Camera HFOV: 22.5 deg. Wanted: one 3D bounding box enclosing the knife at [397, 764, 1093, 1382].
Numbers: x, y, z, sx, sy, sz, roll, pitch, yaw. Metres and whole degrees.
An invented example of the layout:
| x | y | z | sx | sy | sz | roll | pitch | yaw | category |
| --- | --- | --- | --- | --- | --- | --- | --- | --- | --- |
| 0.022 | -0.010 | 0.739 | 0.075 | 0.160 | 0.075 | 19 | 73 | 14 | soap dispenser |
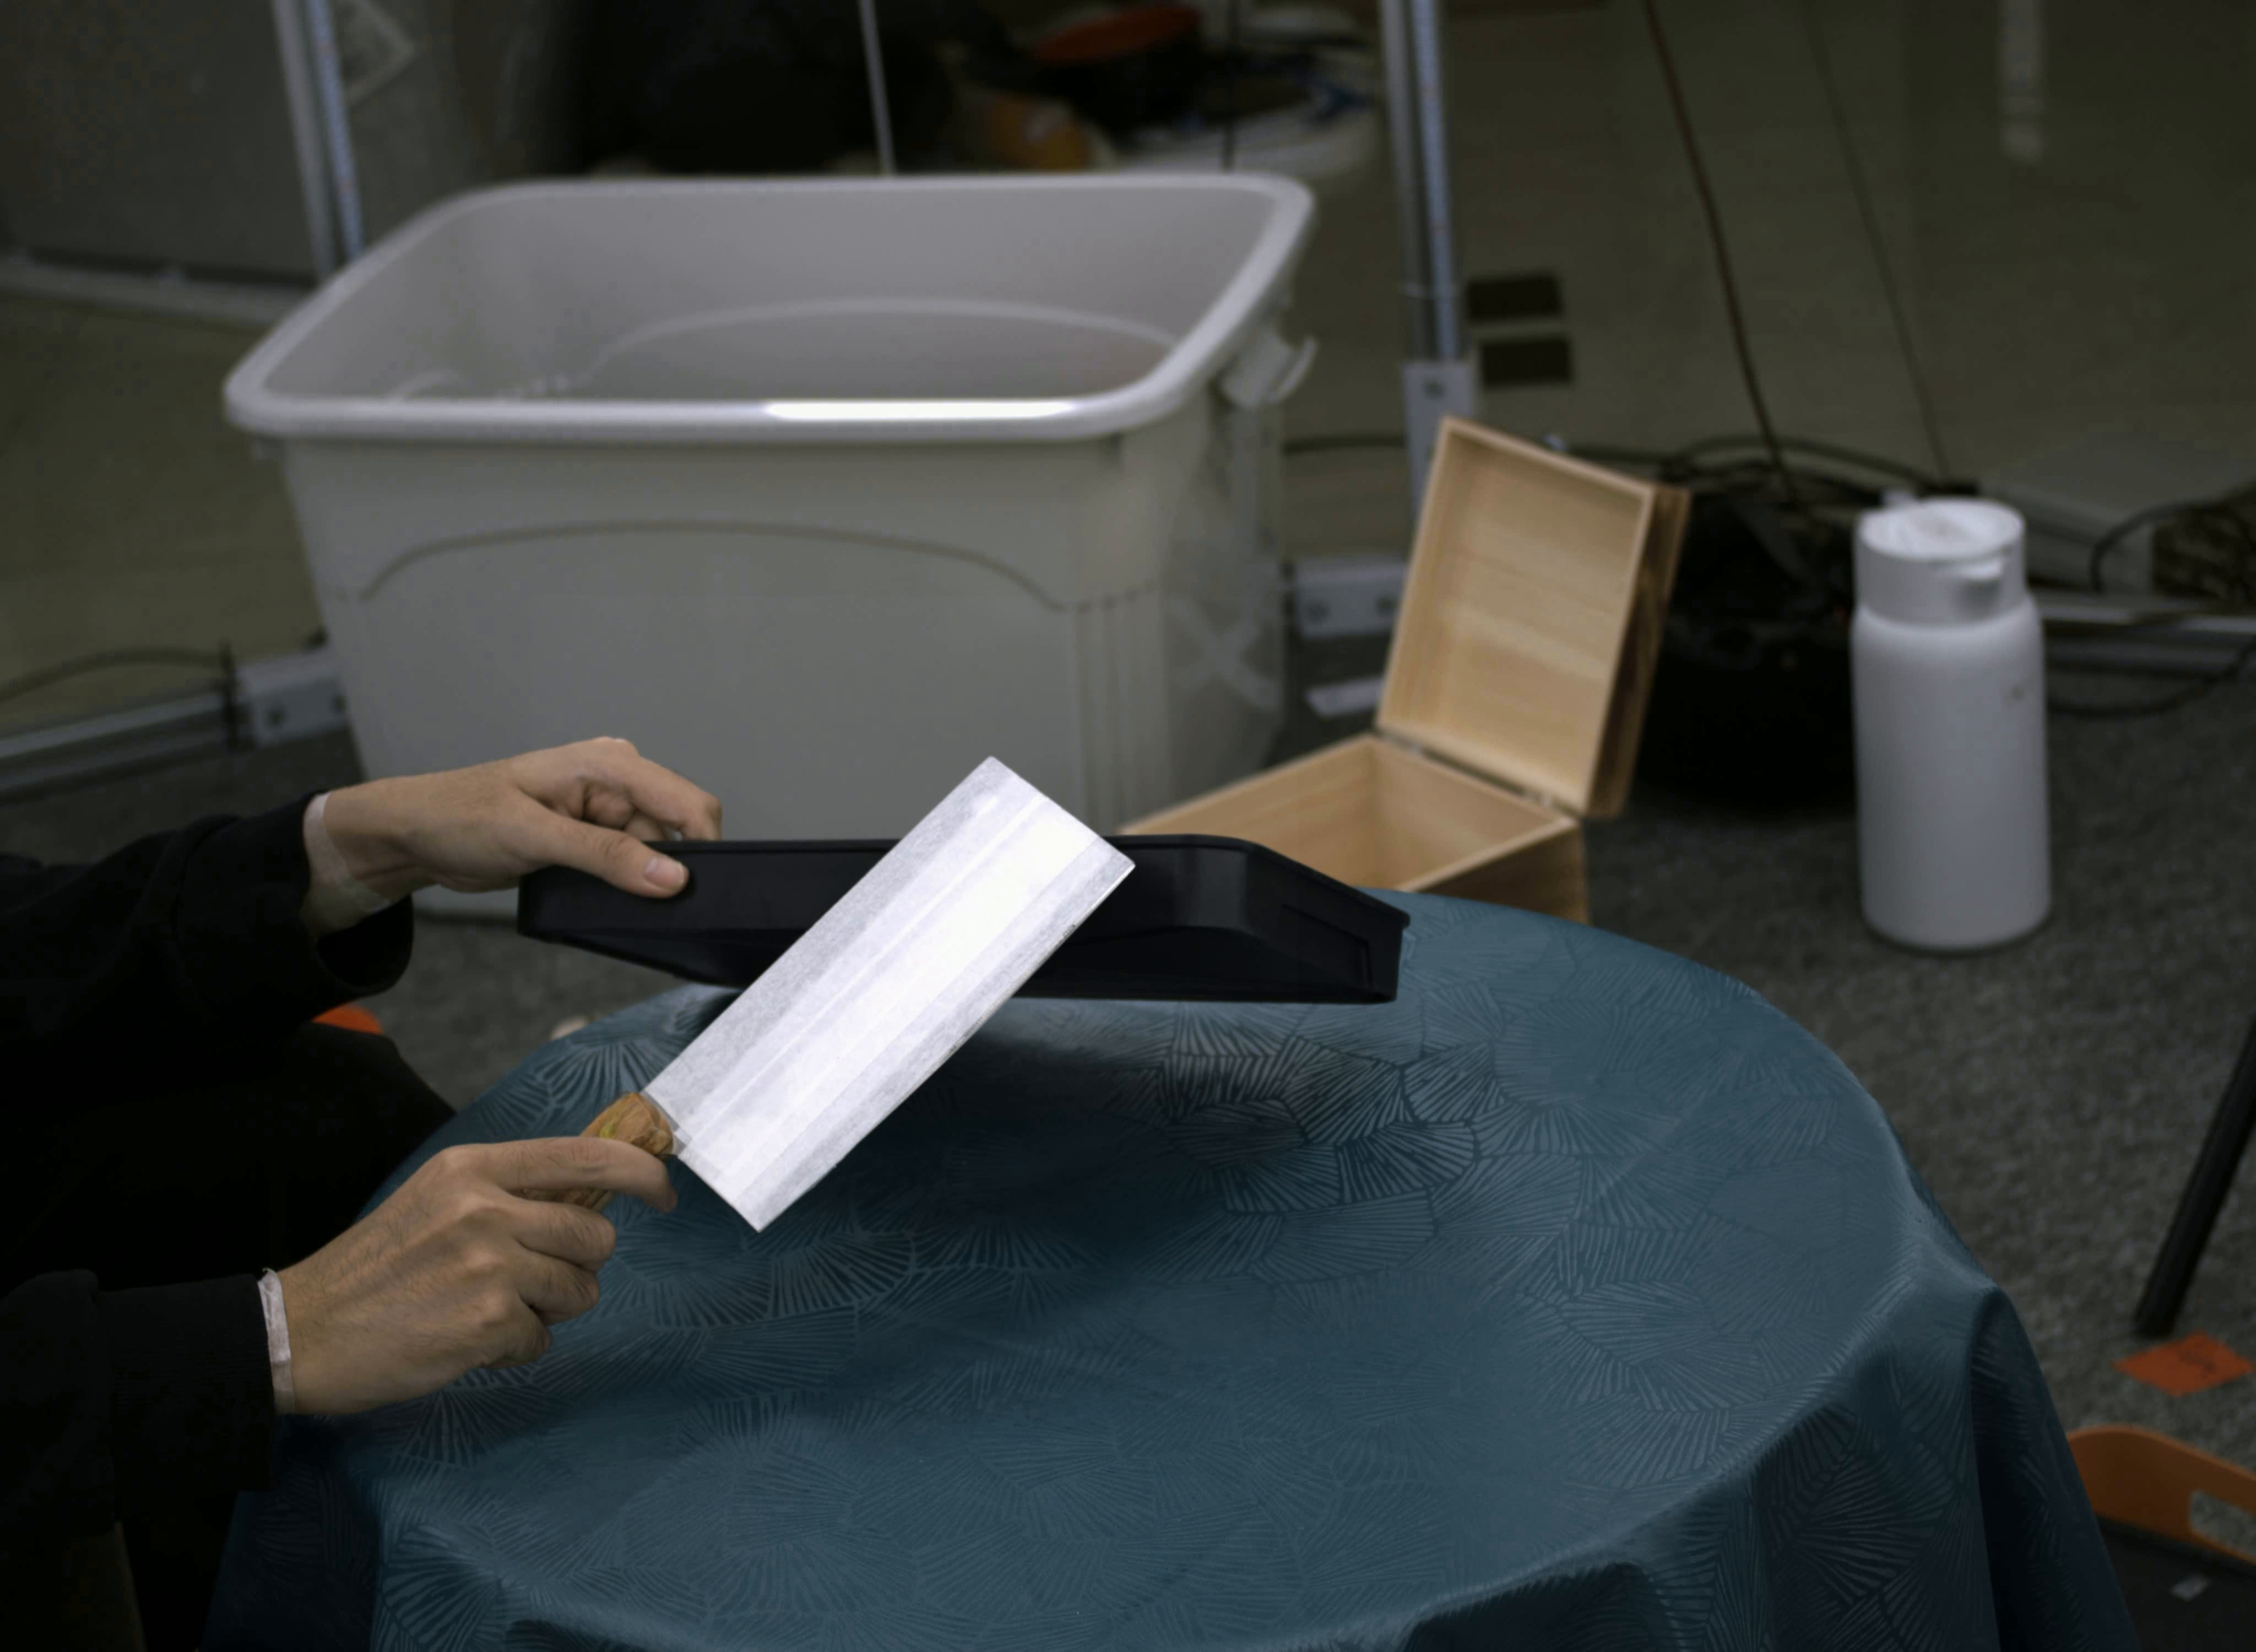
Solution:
| x | y | z | sx | sy | sz | roll | pitch | yaw | category |
| --- | --- | --- | --- | --- | --- | --- | --- | --- | --- |
| -0.132 | 0.097 | 2.039 | 0.304 | 0.021 | 0.092 | -44 | 49 | -9 | knife |

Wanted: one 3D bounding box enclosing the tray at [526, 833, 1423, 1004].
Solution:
| x | y | z | sx | sy | sz | roll | pitch | yaw | category |
| --- | --- | --- | --- | --- | --- | --- | --- | --- | --- |
| -0.060 | 0.037 | 2.195 | 0.317 | 0.037 | 0.185 | 0 | -11 | 24 | tray |
